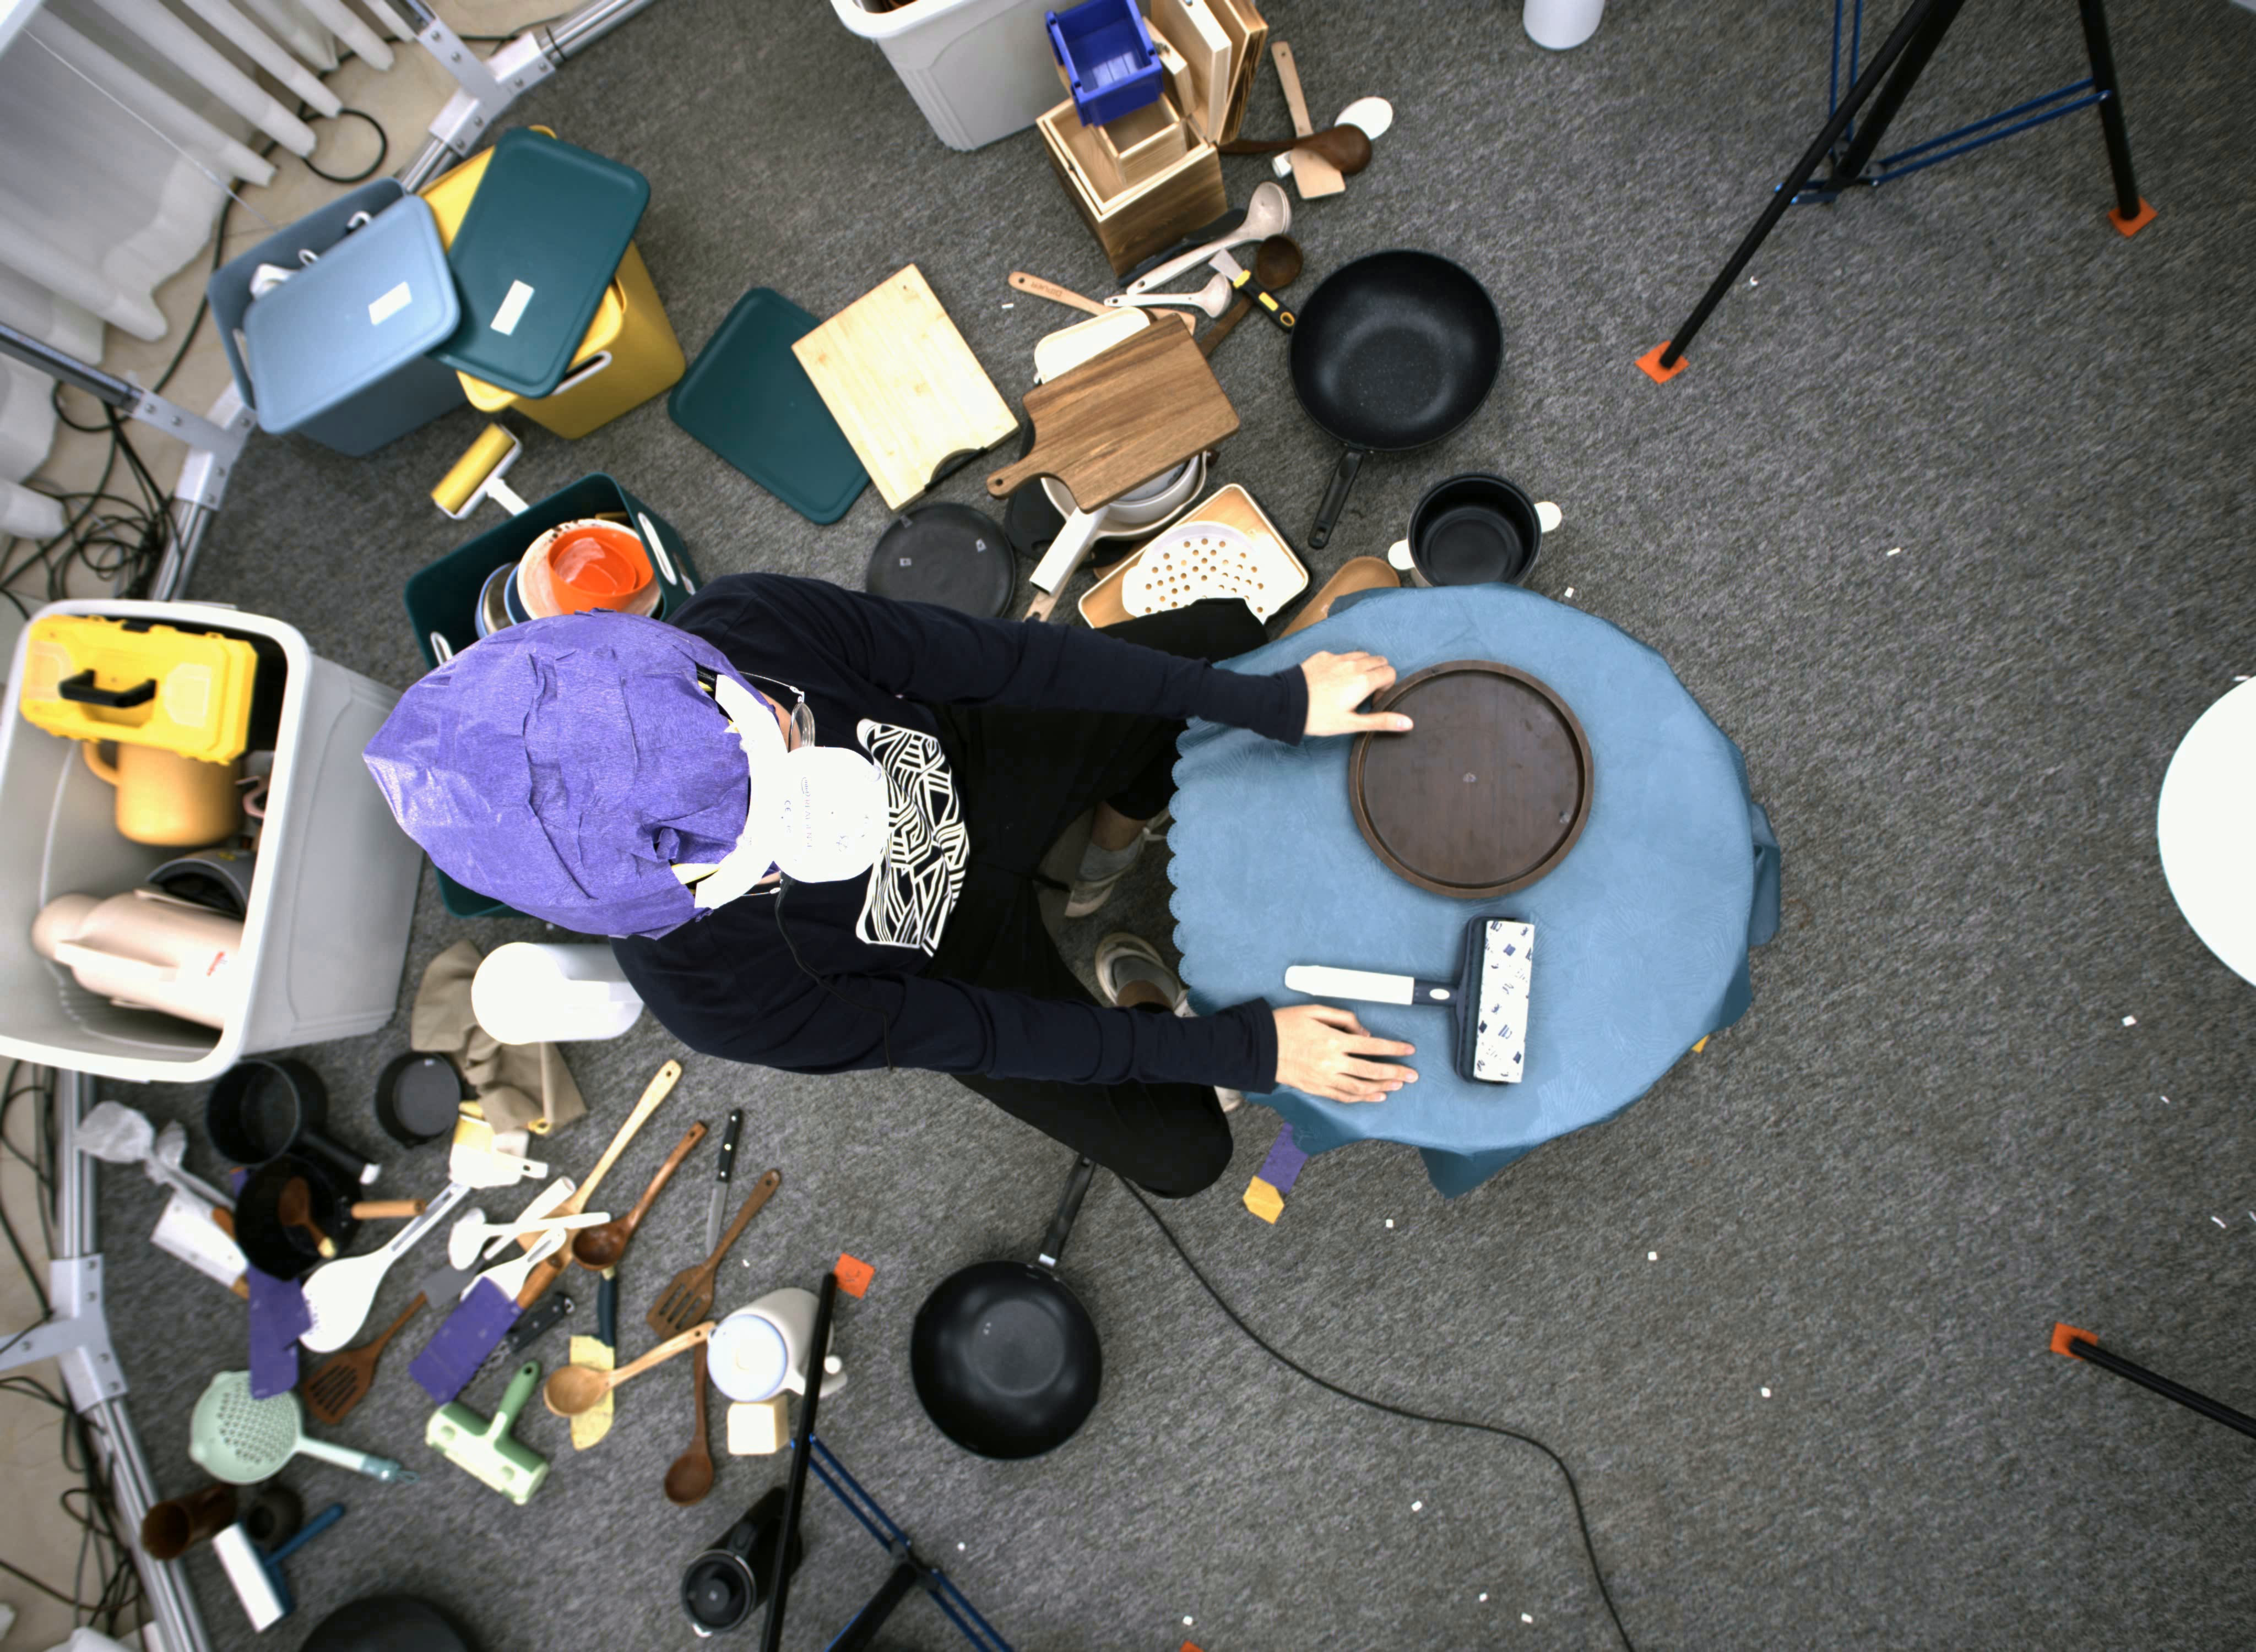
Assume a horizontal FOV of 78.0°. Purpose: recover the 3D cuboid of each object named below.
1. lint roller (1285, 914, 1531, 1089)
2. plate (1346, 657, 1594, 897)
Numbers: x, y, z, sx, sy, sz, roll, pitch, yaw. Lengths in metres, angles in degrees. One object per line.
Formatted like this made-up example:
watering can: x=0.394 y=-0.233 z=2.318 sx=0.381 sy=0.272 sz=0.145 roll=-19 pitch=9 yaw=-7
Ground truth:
lint roller: x=0.285 y=0.170 z=1.431 sx=0.248 sy=0.050 sz=0.176 roll=4 pitch=89 yaw=13
plate: x=0.357 y=-0.053 z=1.440 sx=0.256 sy=0.029 sz=0.253 roll=-1 pitch=86 yaw=13
